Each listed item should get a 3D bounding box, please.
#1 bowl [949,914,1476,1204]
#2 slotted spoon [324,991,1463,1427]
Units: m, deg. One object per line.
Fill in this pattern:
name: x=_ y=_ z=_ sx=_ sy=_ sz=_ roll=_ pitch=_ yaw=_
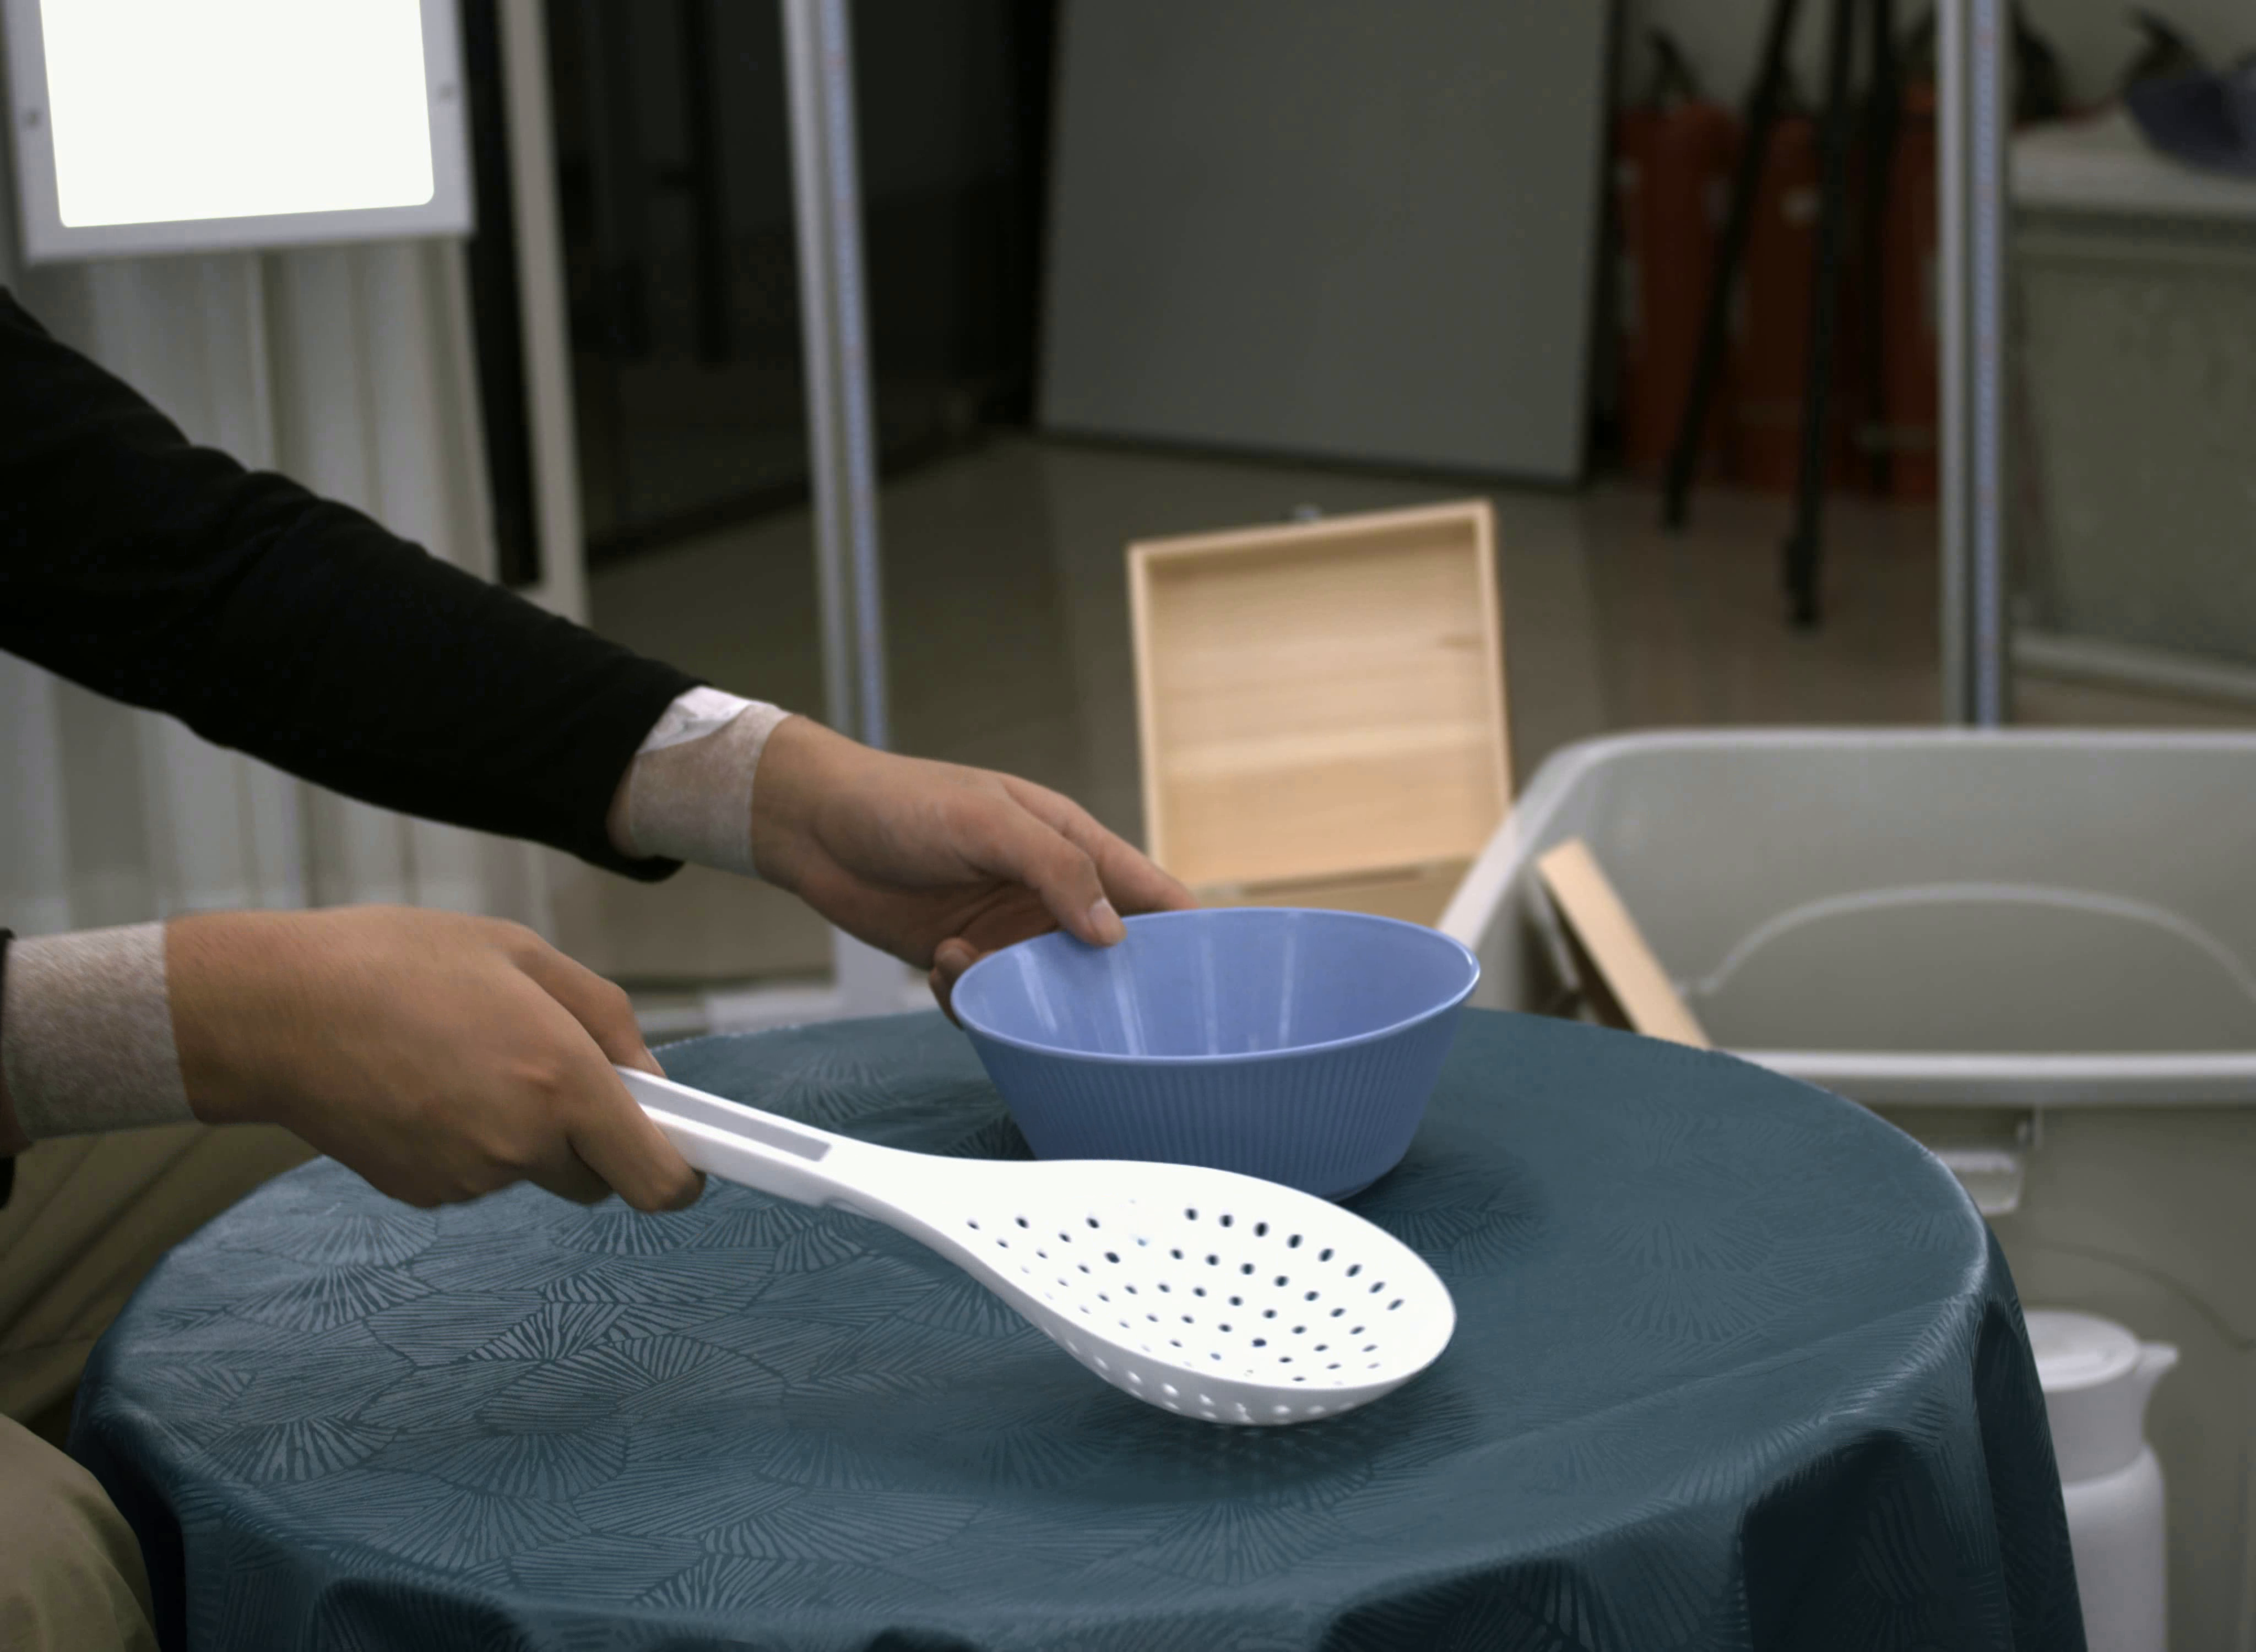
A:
bowl: x=0.030 y=0.081 z=1.776 sx=0.174 sy=0.071 sz=0.176 roll=-5 pitch=13 yaw=0
slotted spoon: x=-0.072 y=0.105 z=1.577 sx=0.348 sy=0.046 sz=0.135 roll=20 pitch=24 yaw=9
